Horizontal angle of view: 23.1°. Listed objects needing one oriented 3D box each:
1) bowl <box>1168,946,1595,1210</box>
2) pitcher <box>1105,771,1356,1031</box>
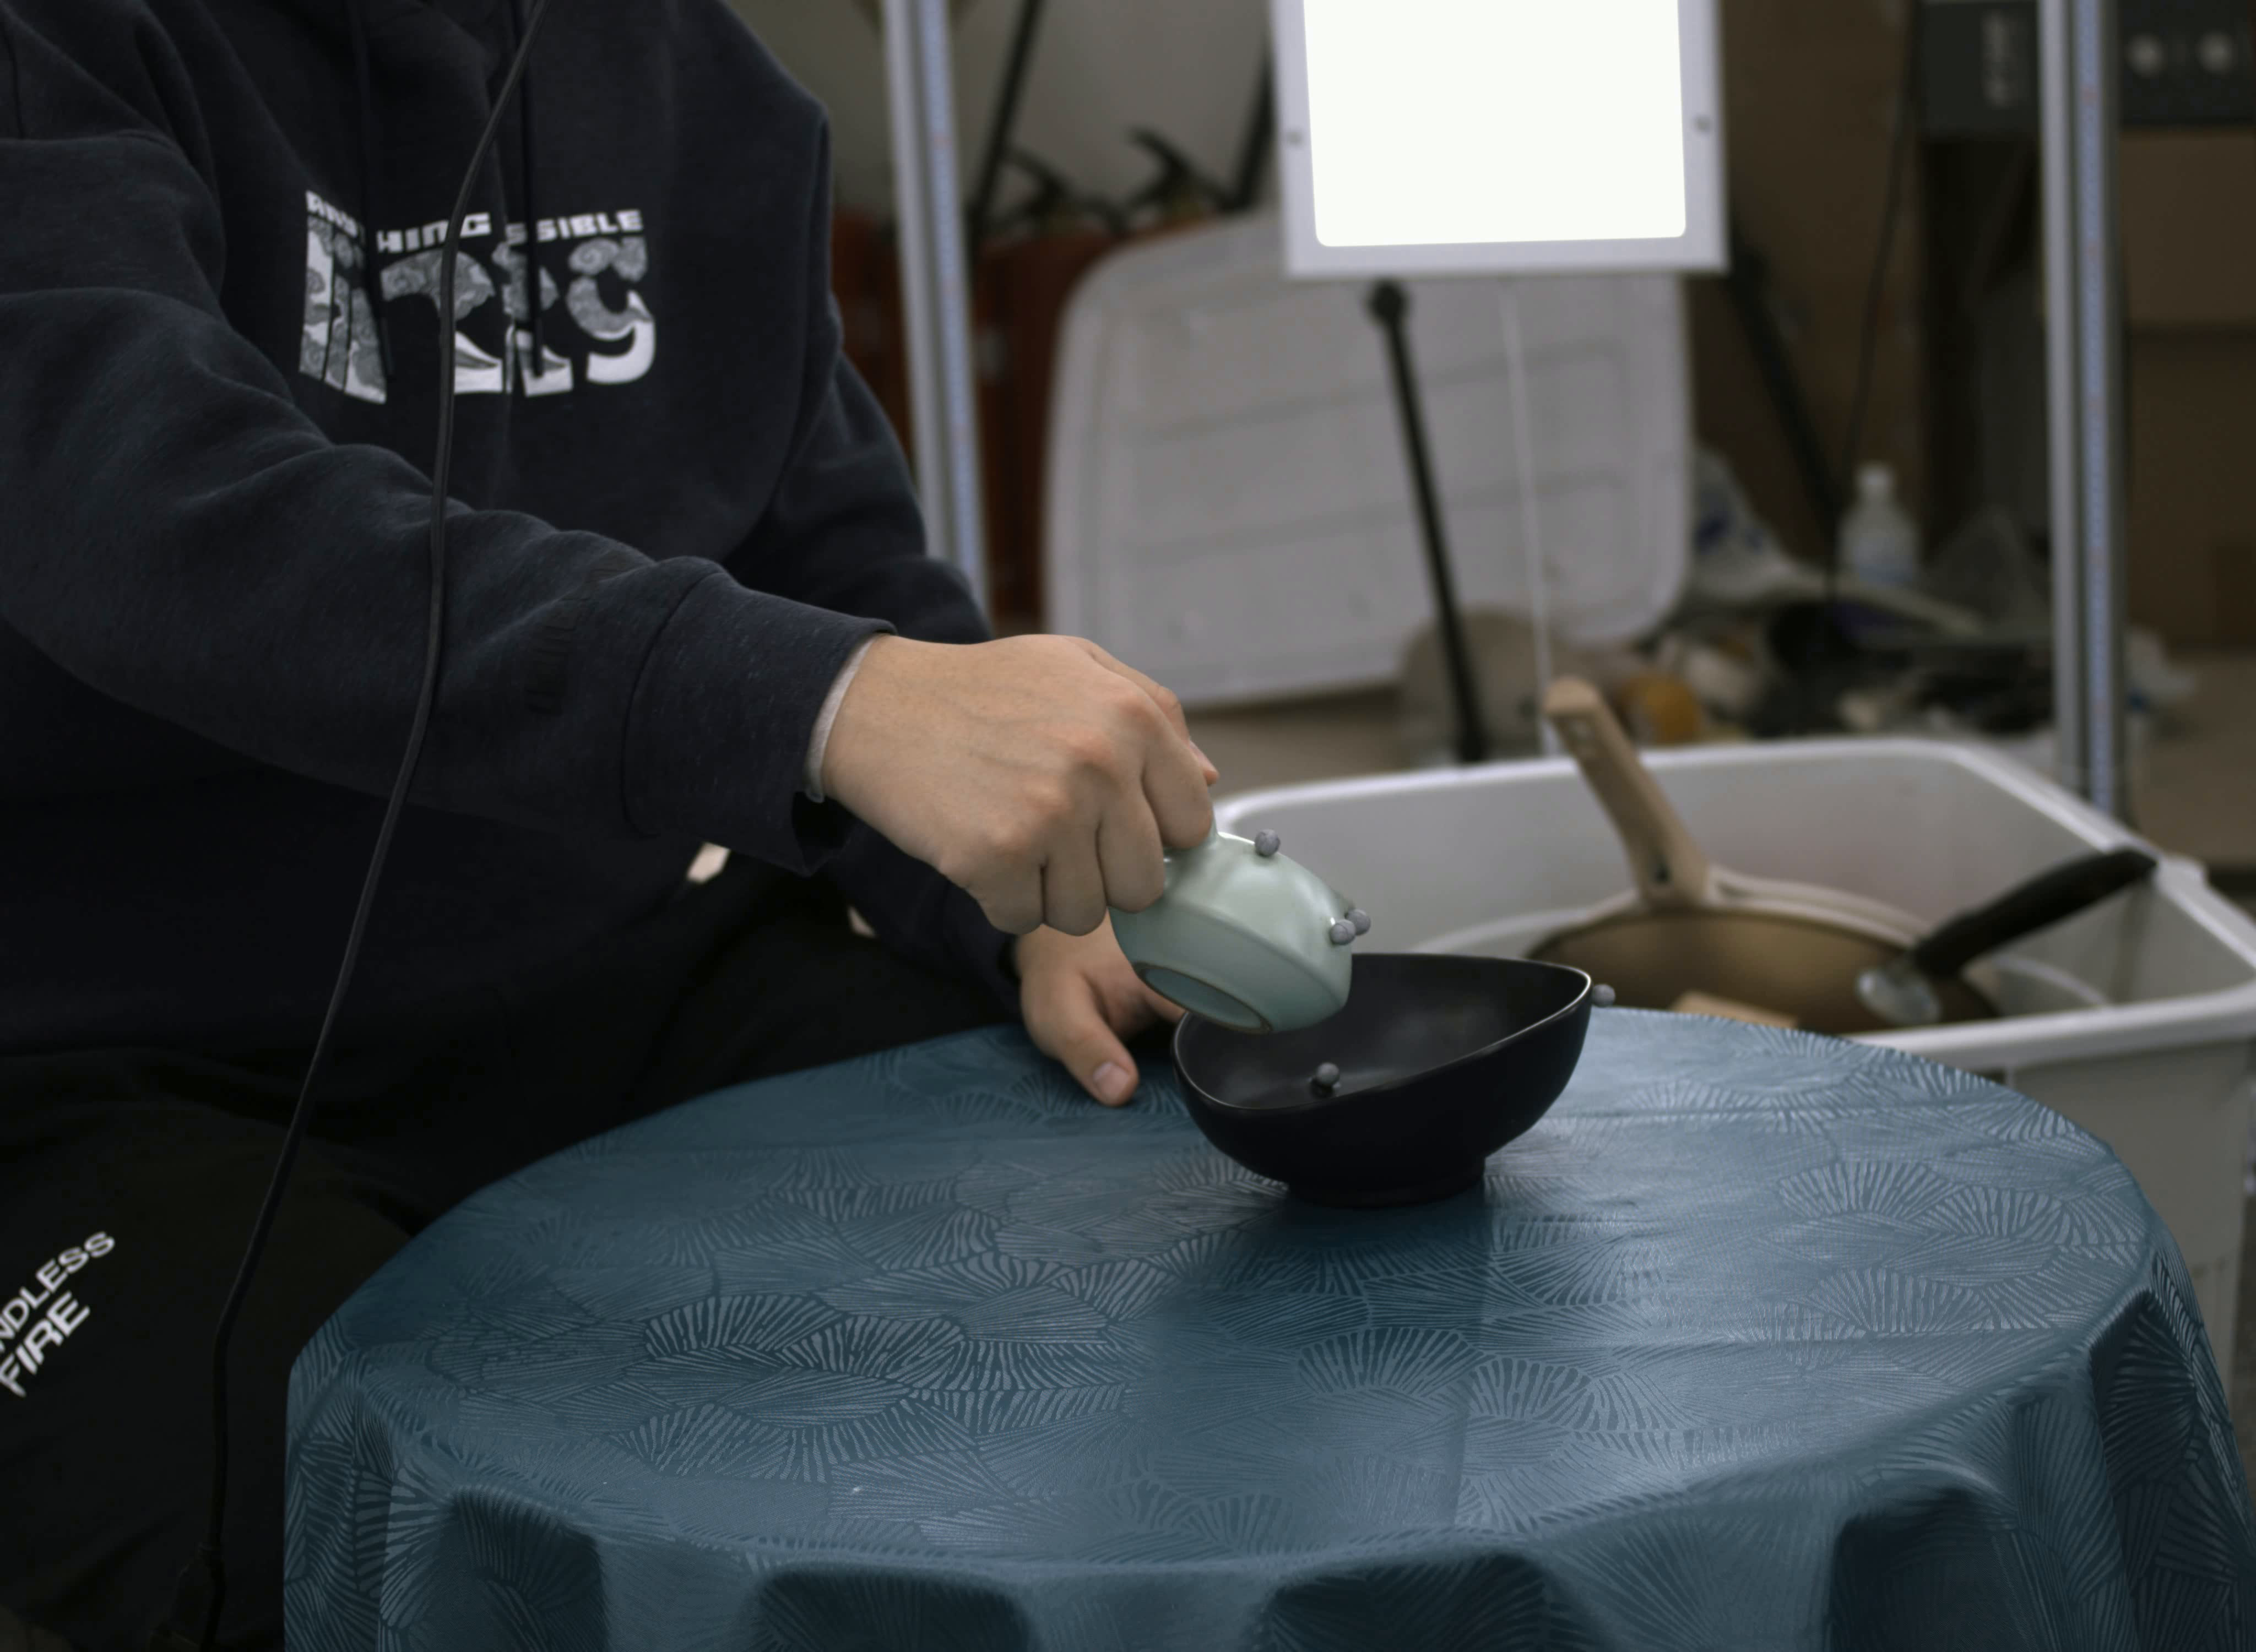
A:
[{"bbox_3d":[0.089,0.090,1.883,0.140,0.067,0.166,4,17,35],"label":"bowl"},{"bbox_3d":[0.029,0.026,1.795,0.088,0.060,0.106,10,-18,48],"label":"pitcher"}]
